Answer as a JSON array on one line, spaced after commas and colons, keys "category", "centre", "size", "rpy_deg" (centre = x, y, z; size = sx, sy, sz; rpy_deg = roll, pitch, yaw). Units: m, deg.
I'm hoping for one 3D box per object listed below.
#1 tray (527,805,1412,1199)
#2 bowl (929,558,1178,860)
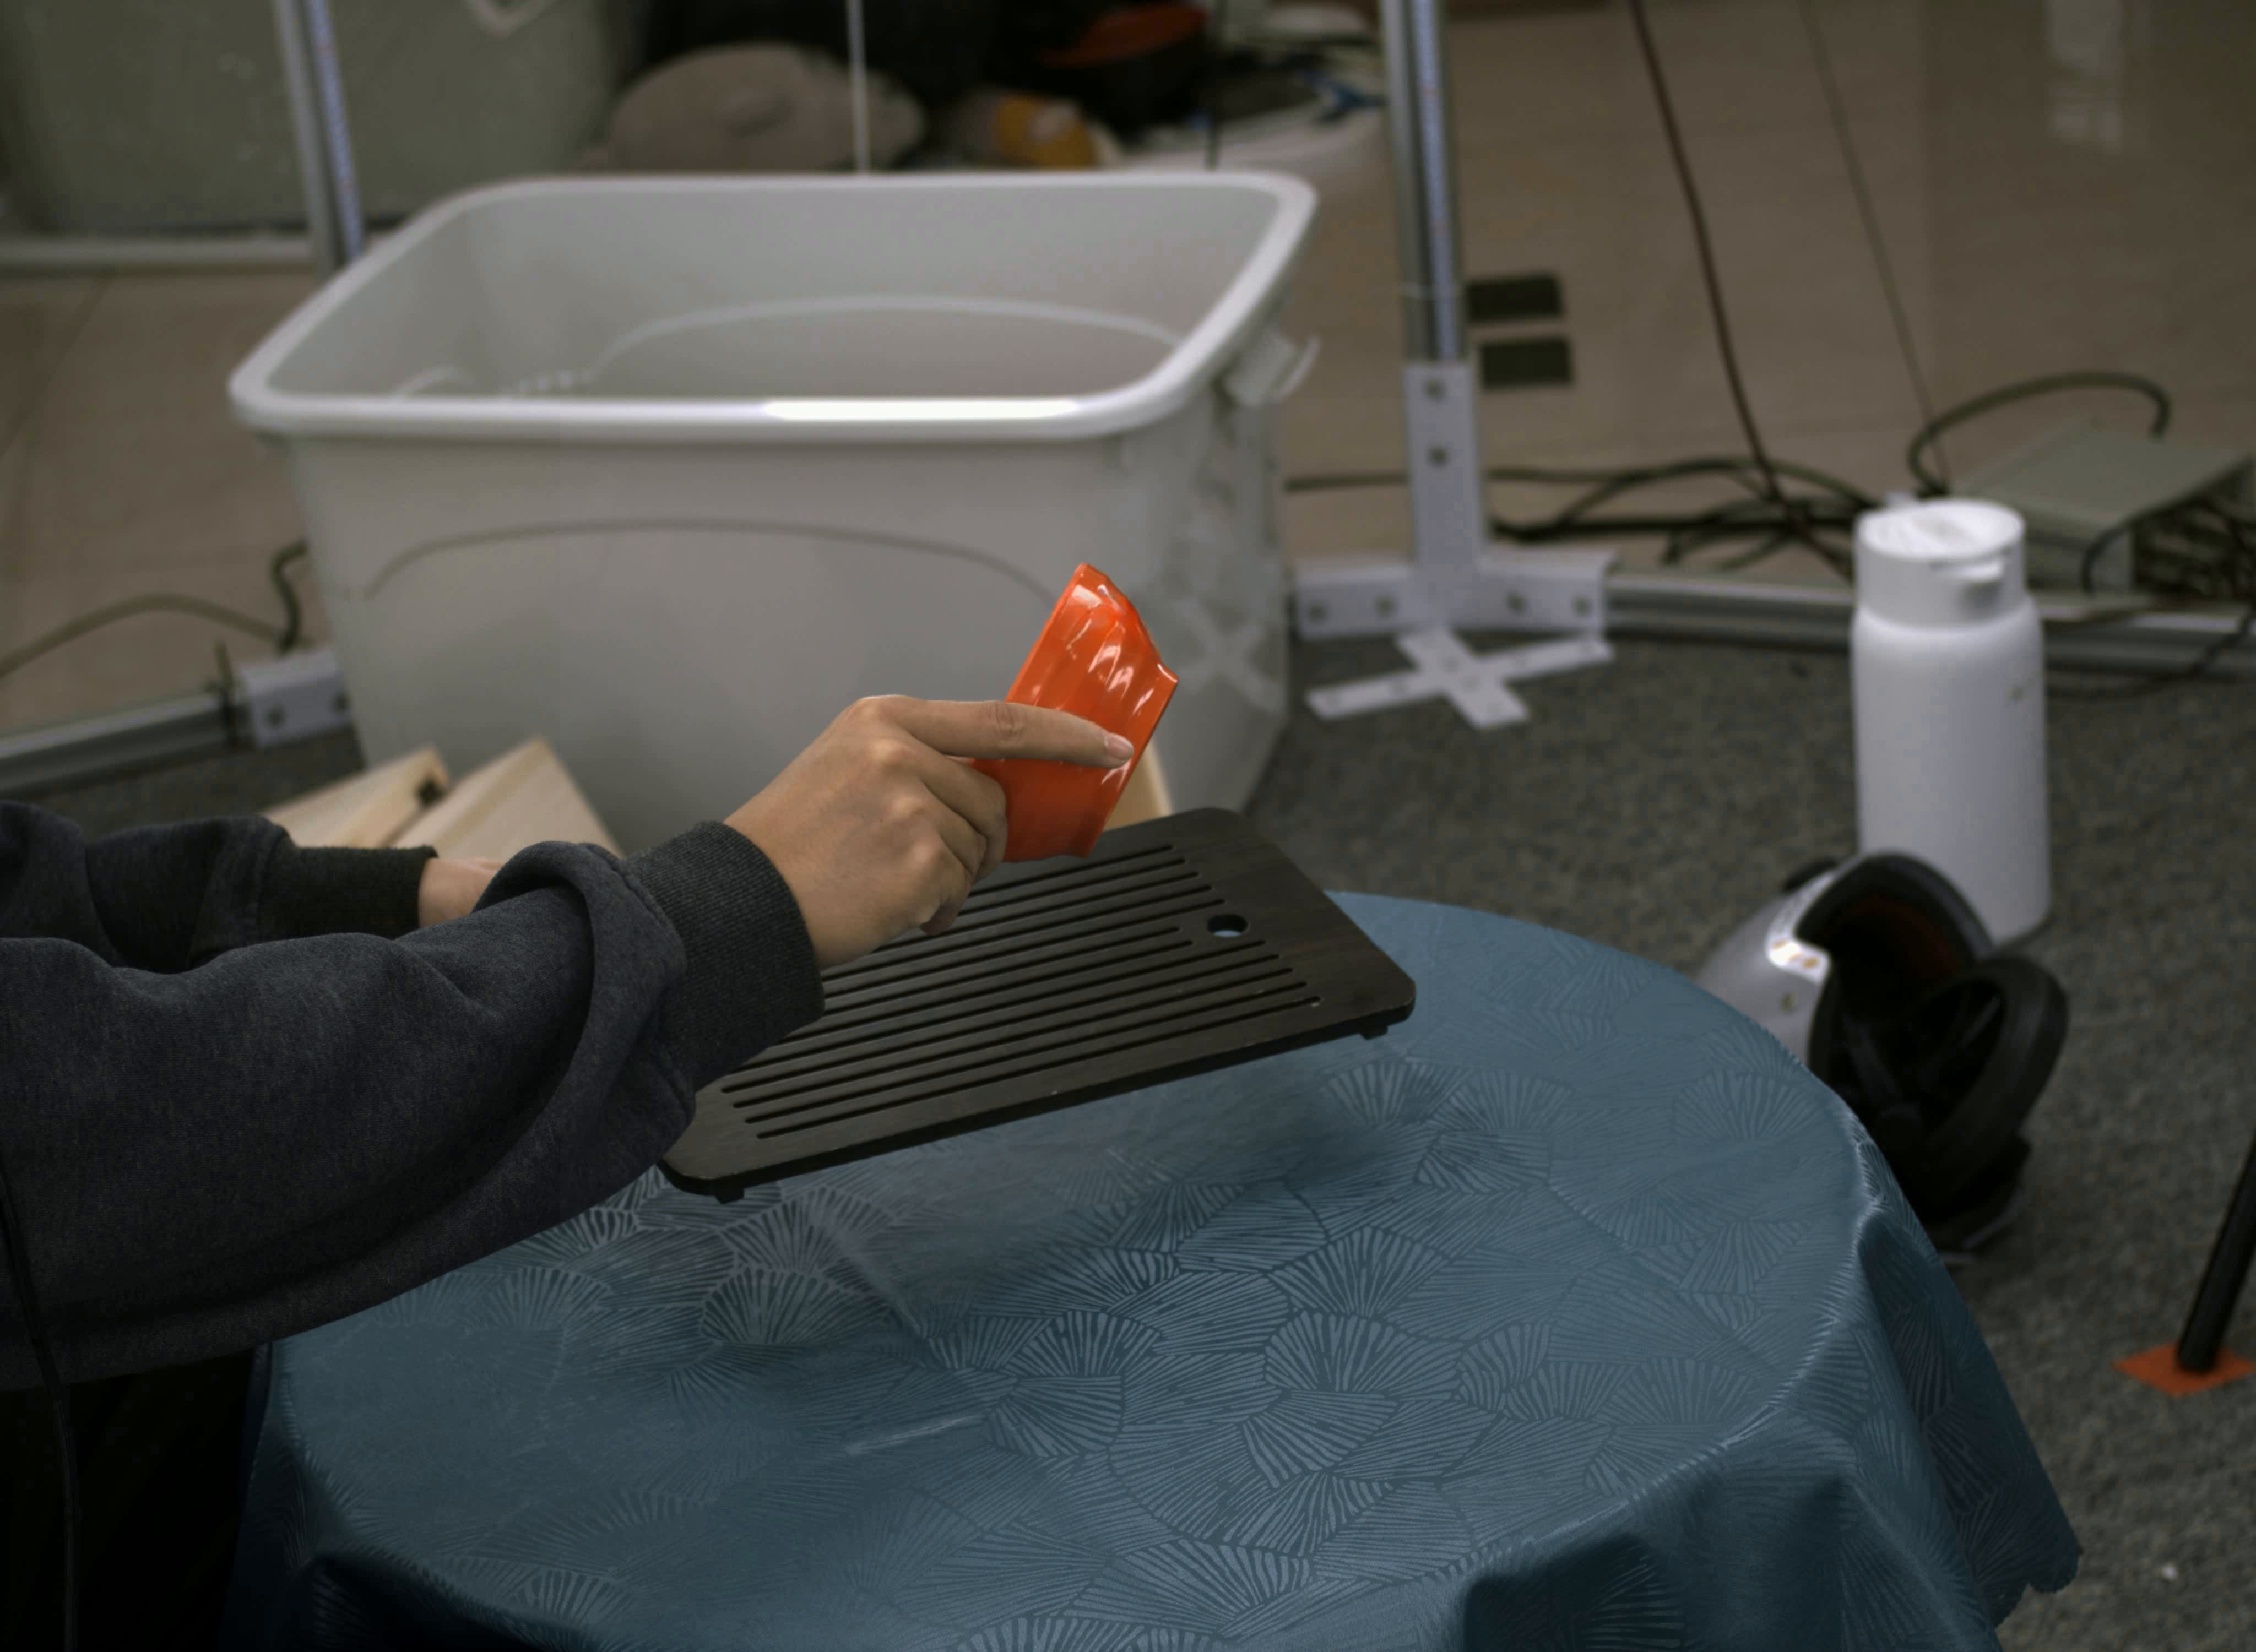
[{"category": "tray", "centre": [-0.060, 0.065, 2.149], "size": [0.305, 0.019, 0.168], "rpy_deg": [-13, 33, -22]}, {"category": "bowl", "centre": [-0.022, -0.032, 2.001], "size": [0.051, 0.120, 0.117], "rpy_deg": [29, 29, 0]}]
